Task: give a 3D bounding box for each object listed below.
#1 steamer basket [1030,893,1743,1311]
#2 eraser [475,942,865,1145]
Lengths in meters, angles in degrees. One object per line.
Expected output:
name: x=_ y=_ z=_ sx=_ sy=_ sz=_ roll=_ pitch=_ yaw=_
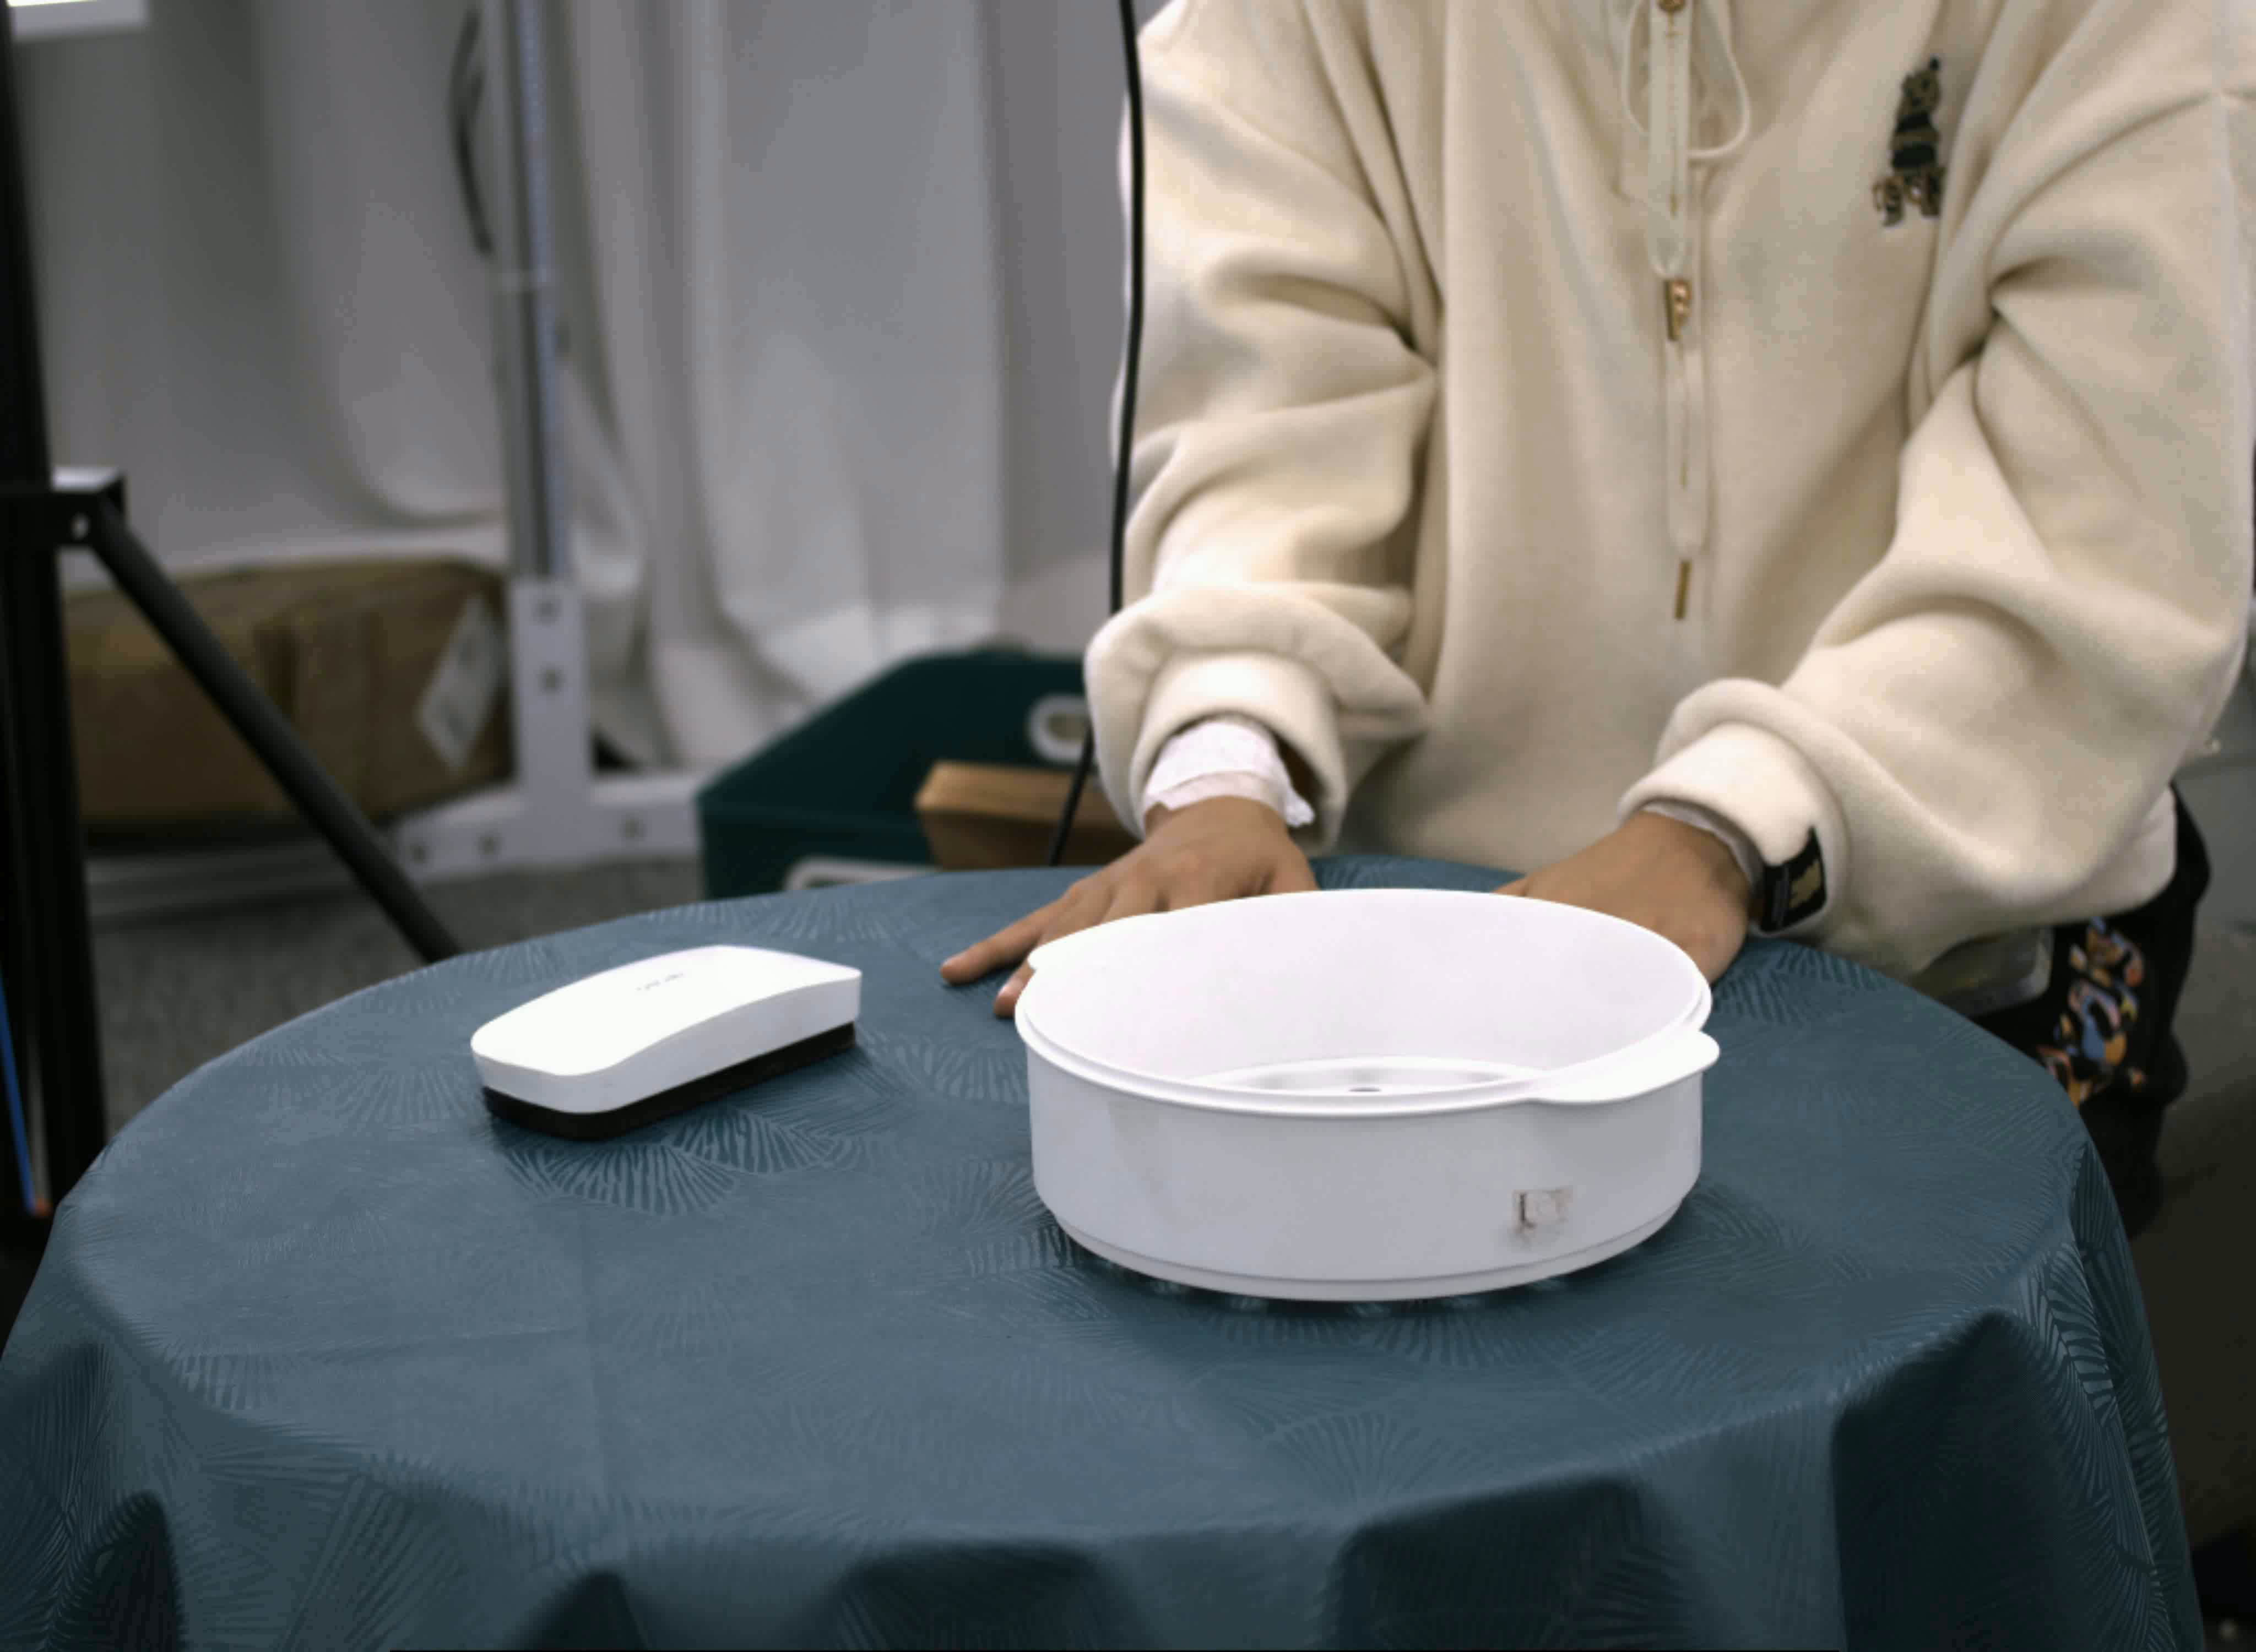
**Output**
steamer basket: x=0.073 y=0.079 z=1.524 sx=0.236 sy=0.069 sz=0.197 roll=14 pitch=22 yaw=43
eraser: x=-0.142 y=0.065 z=1.677 sx=0.065 sy=0.034 sz=0.128 roll=12 pitch=22 yaw=42
